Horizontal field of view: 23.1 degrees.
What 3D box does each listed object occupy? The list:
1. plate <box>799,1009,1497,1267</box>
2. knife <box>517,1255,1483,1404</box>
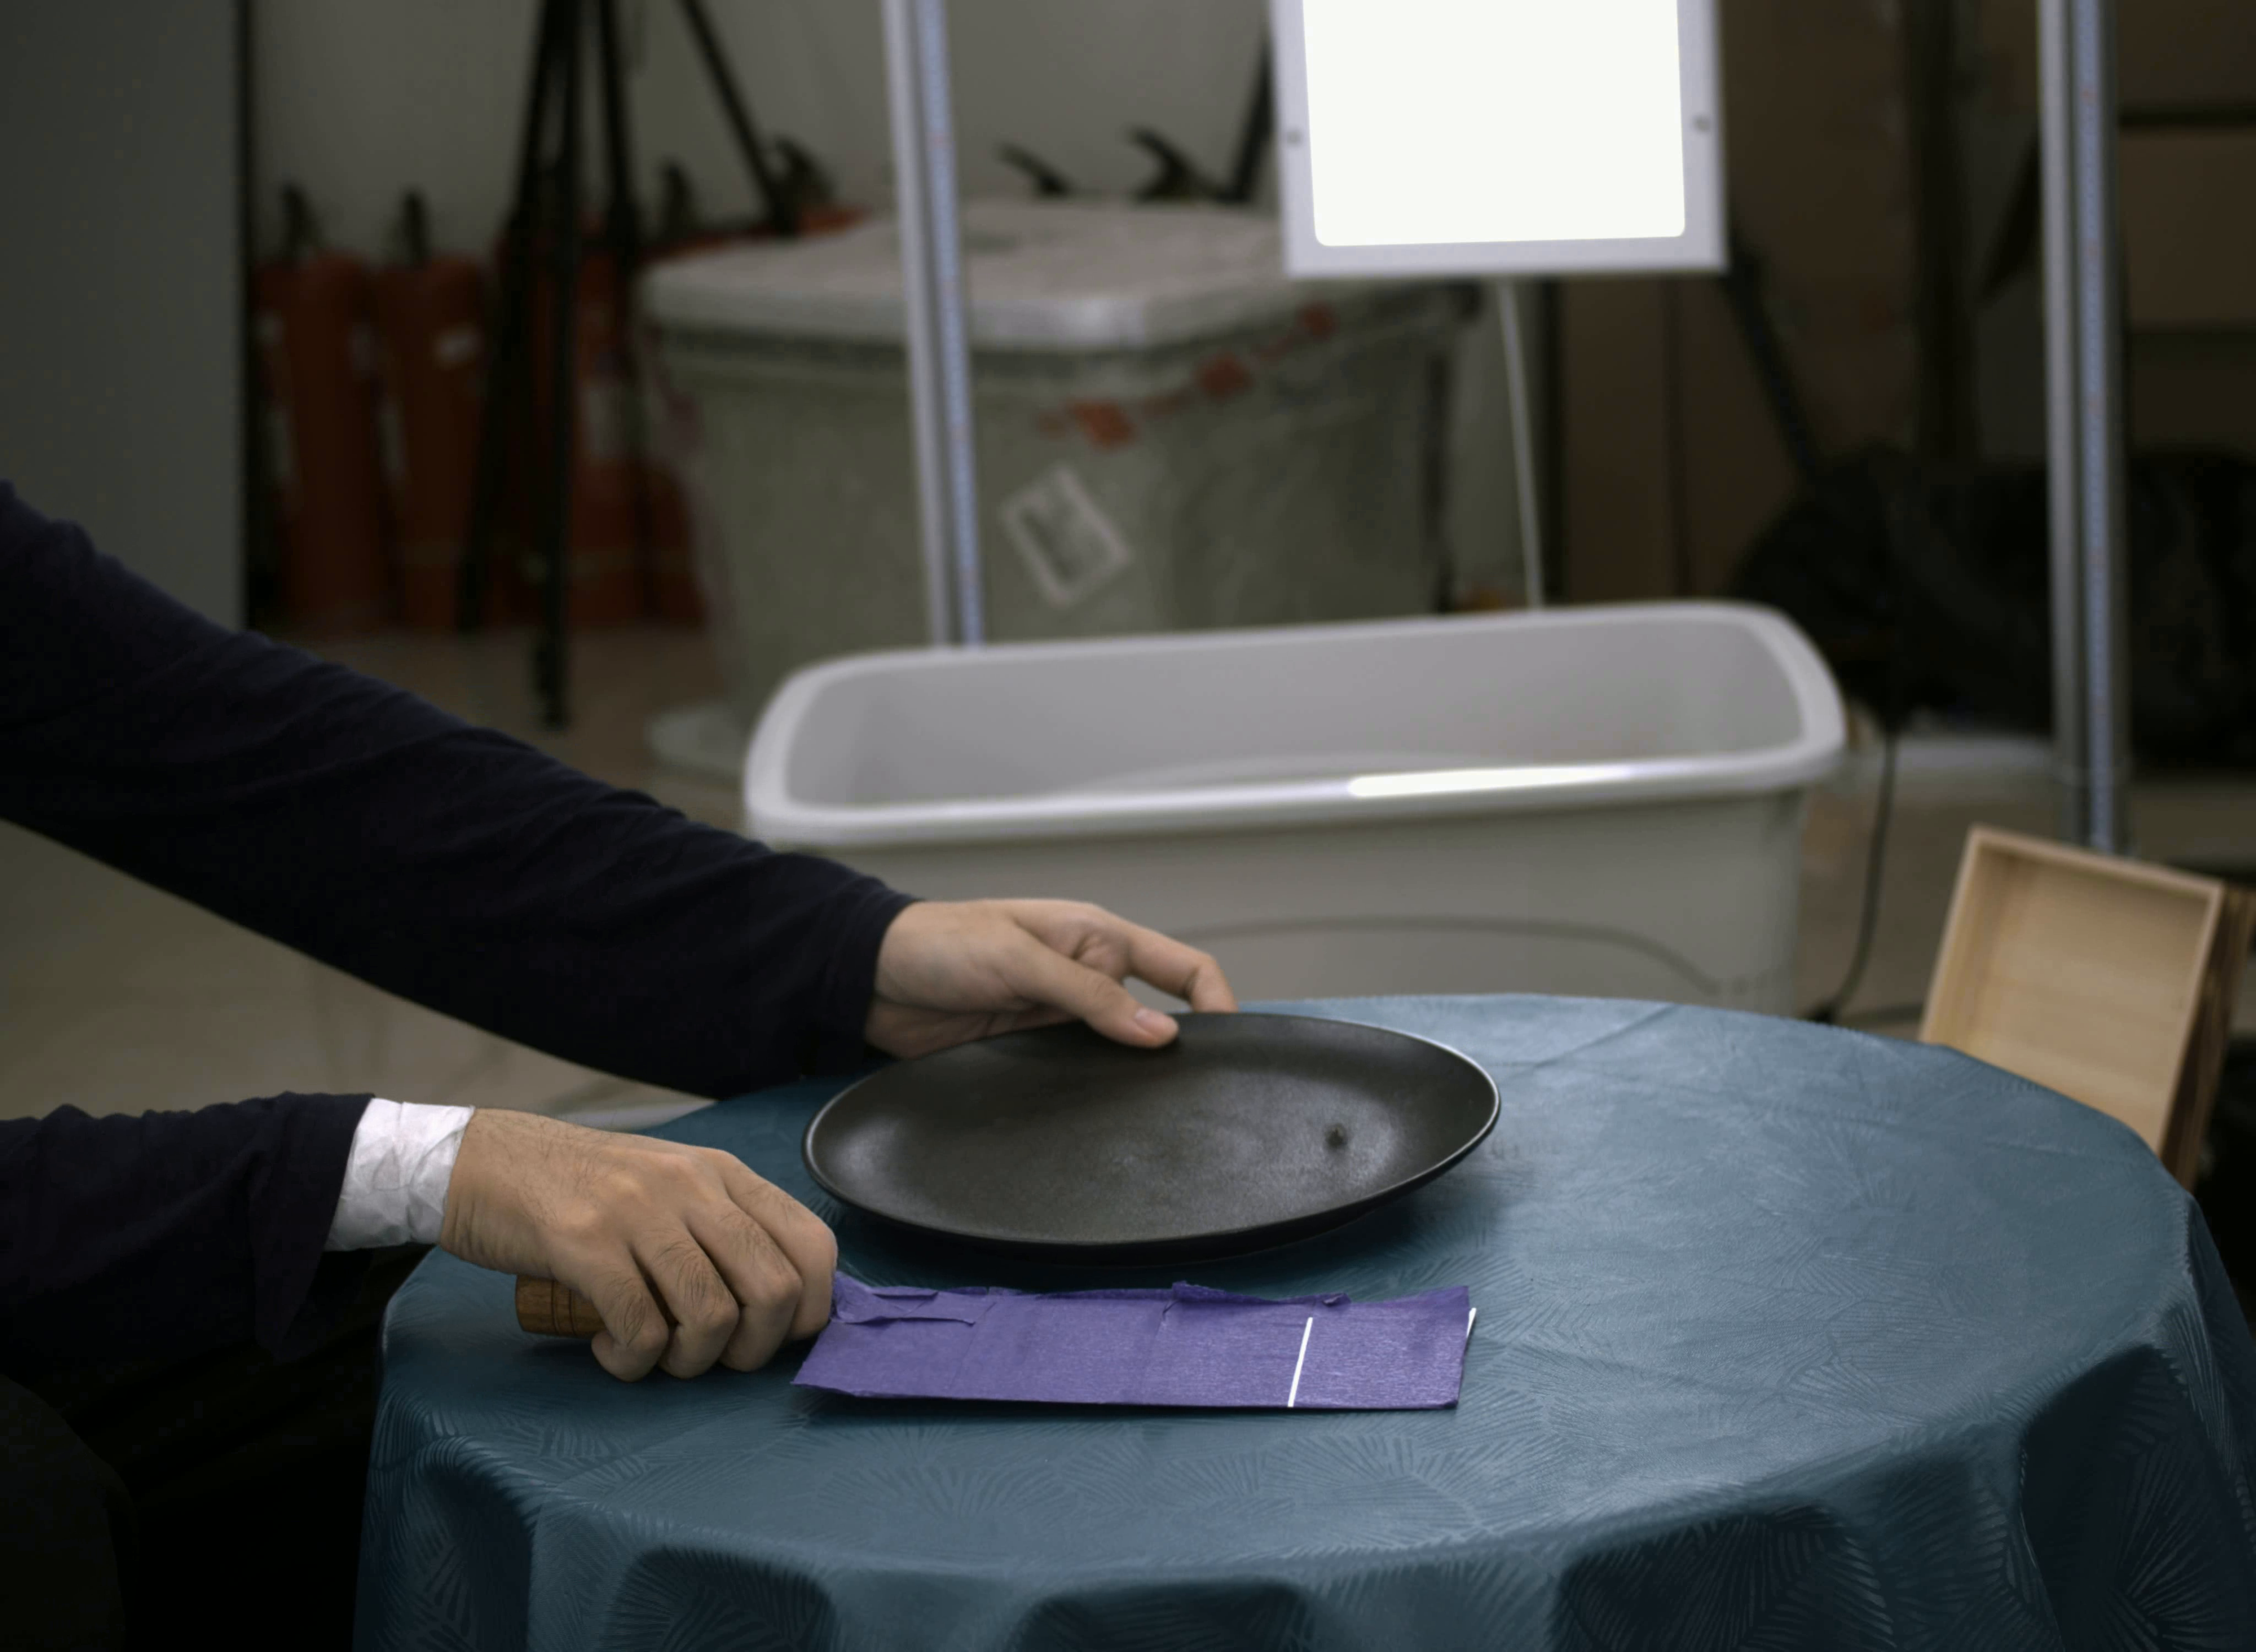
[{"bbox_3d":[0.007,0.110,1.904,0.244,0.023,0.244,-5,16,0],"label":"plate"},{"bbox_3d":[-0.046,0.158,1.734,0.317,0.032,0.103,-2,14,11],"label":"knife"}]
